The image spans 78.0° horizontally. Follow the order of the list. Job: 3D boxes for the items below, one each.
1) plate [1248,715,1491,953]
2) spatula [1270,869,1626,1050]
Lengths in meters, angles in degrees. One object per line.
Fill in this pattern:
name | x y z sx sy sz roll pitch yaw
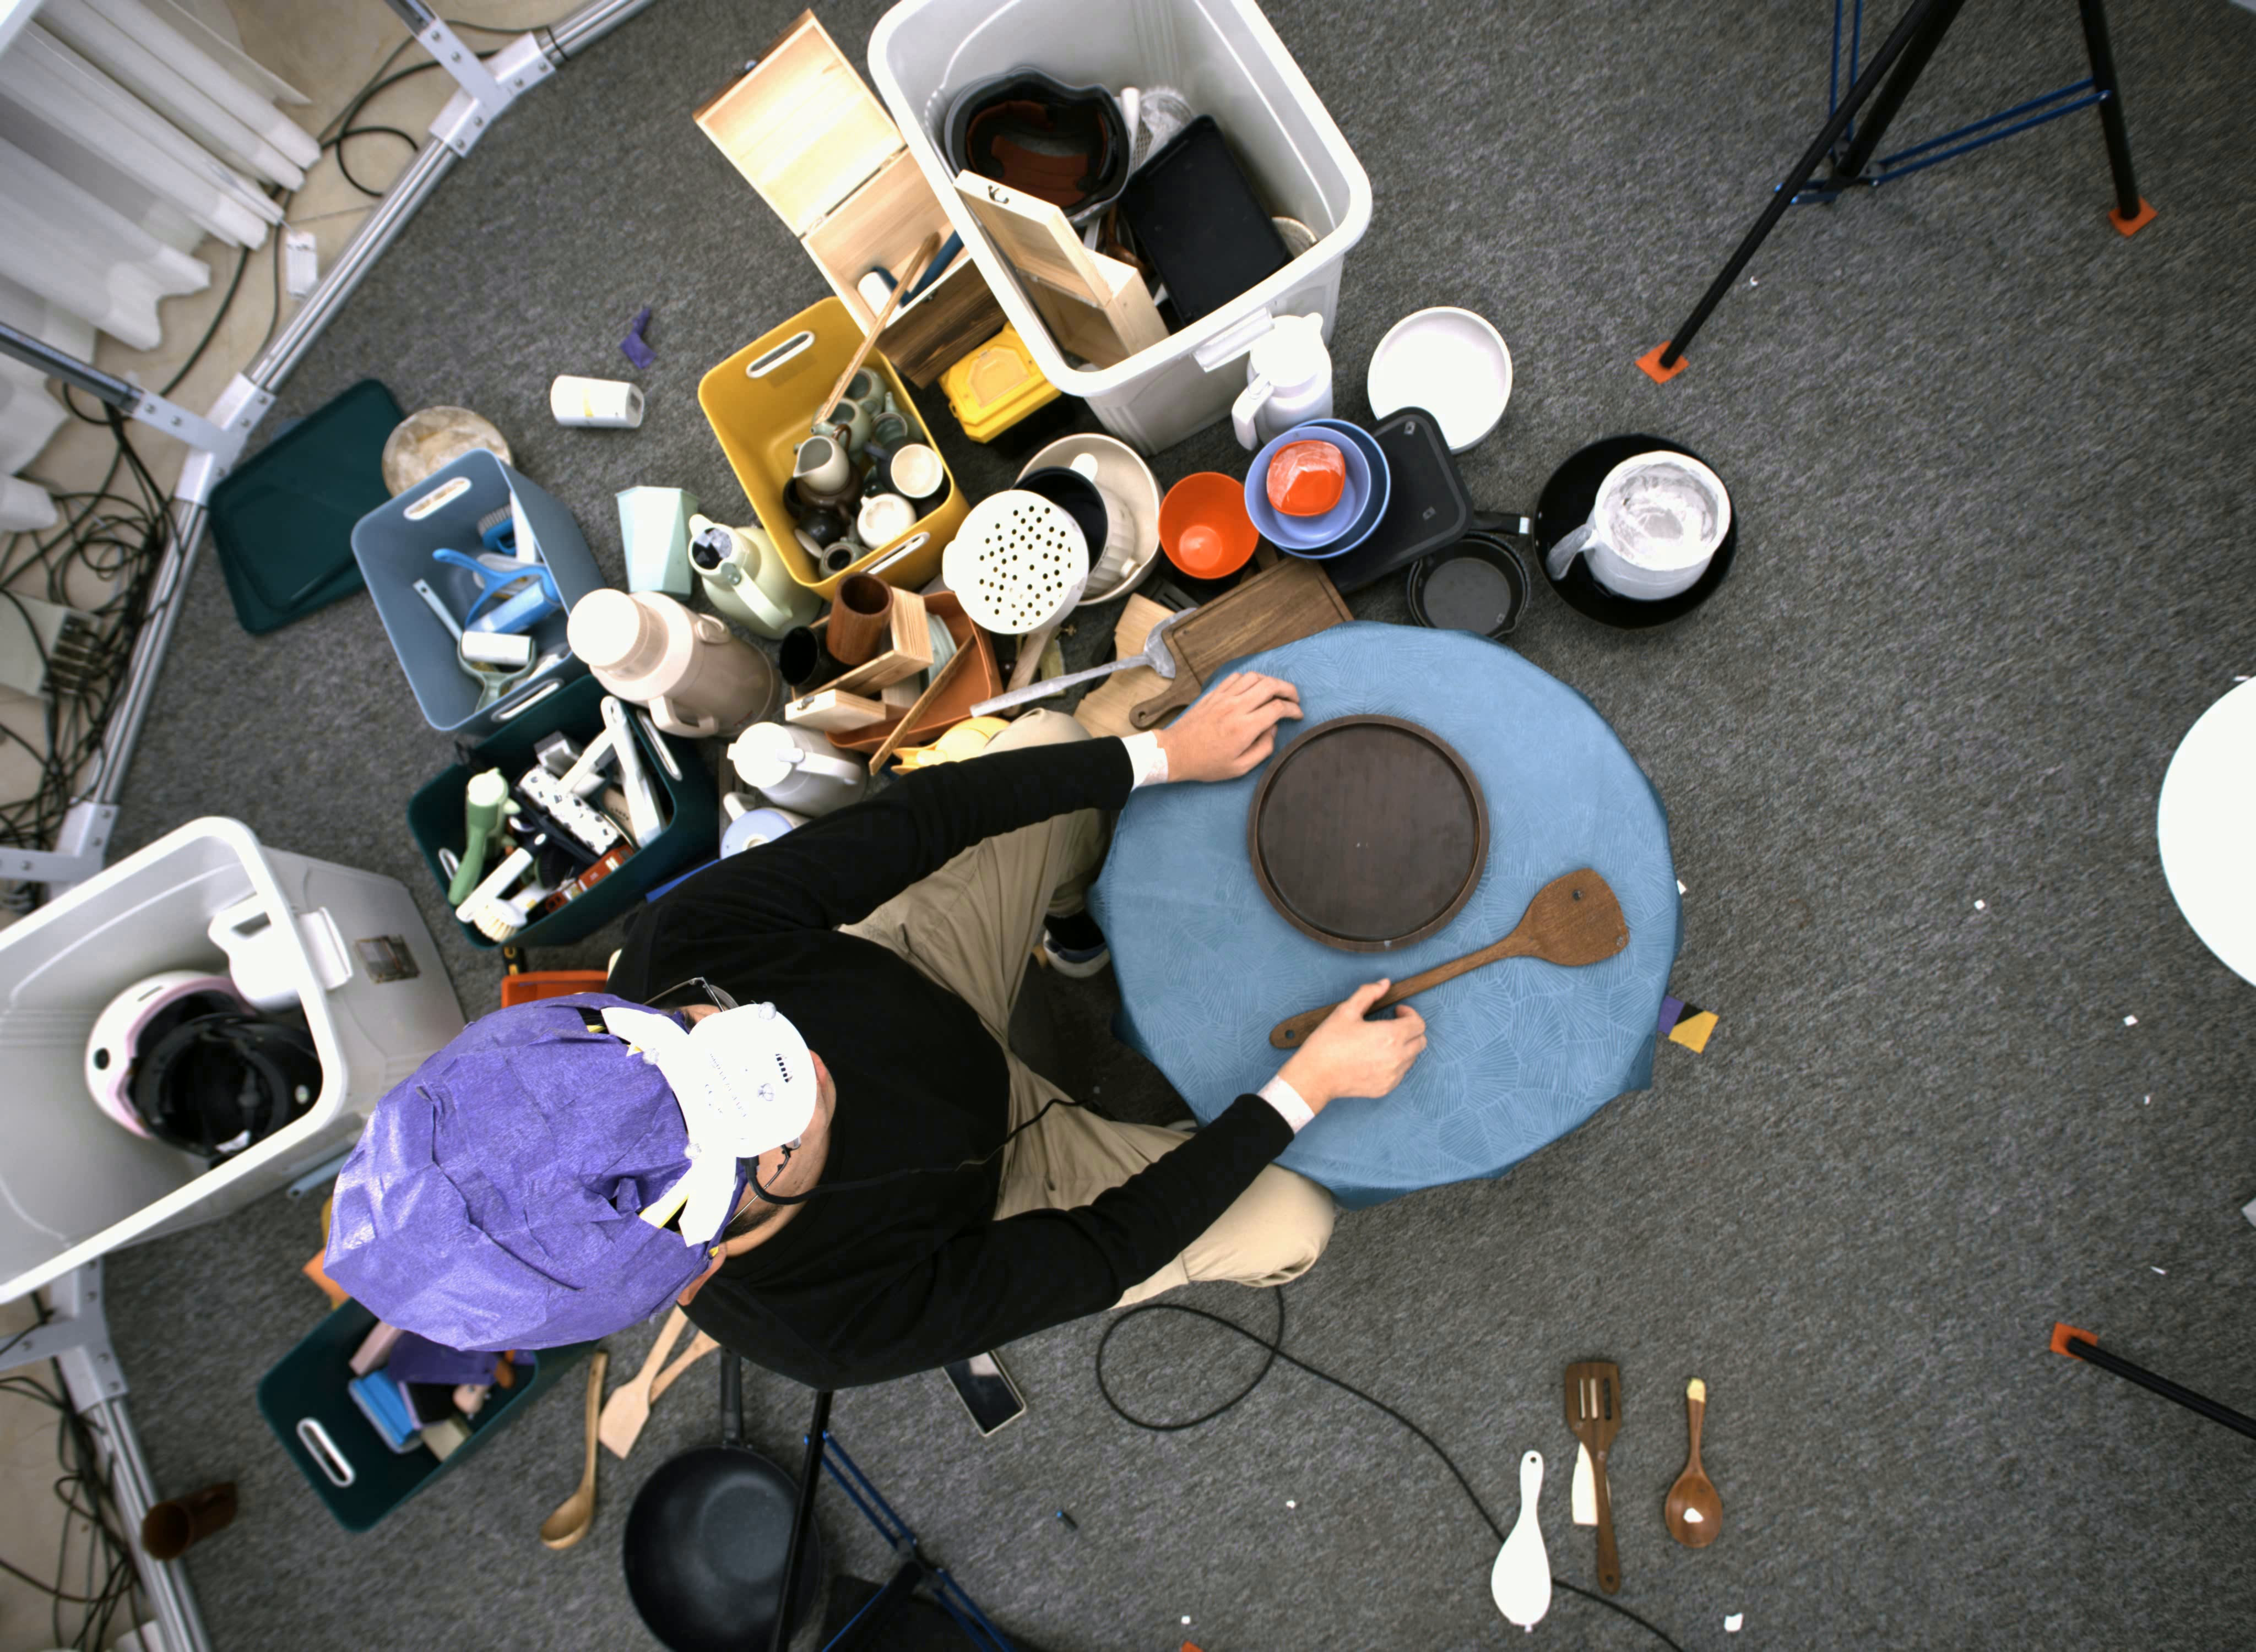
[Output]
plate | 0.253 0.006 1.455 0.256 0.029 0.254 -1 88 10
spatula | 0.327 0.153 1.437 0.388 0.016 0.095 -23 82 9
